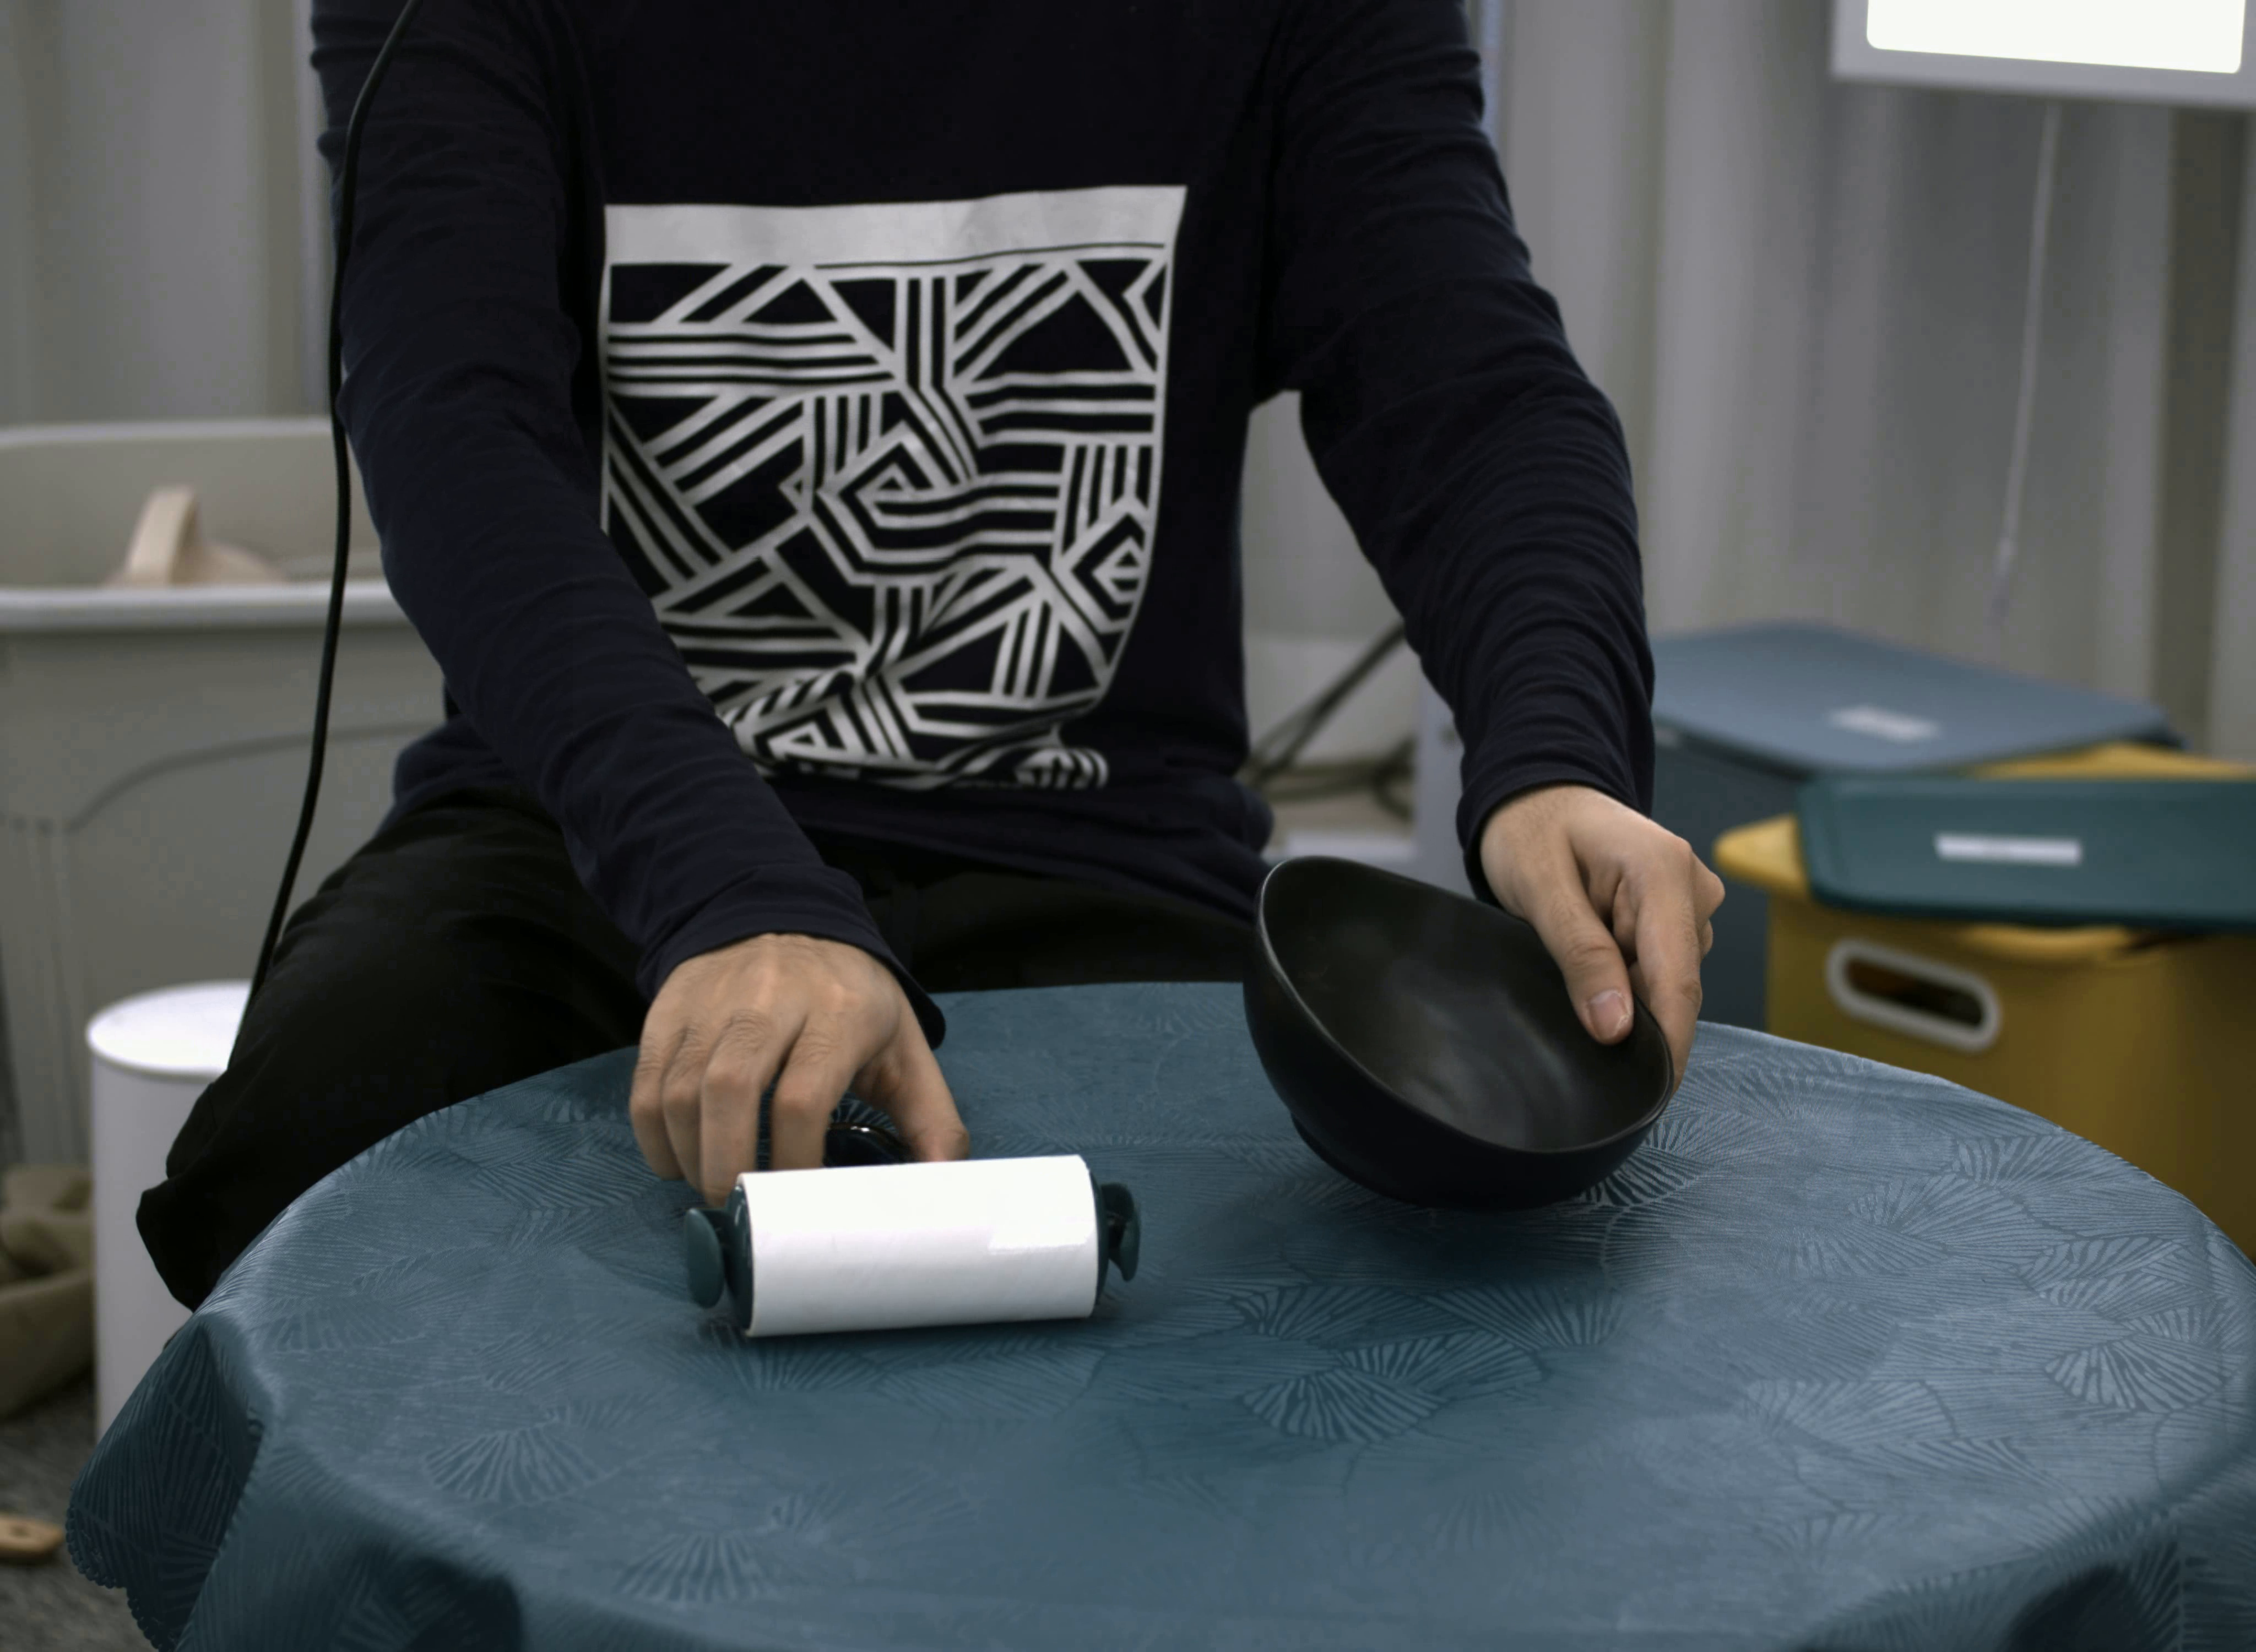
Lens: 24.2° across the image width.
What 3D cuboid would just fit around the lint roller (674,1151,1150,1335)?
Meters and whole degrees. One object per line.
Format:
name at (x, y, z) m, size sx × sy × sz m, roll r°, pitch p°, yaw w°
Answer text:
lint roller at (-0.075, 0.106, 1.570) m, size 0.134 × 0.048 × 0.178 m, roll -3°, pitch 12°, yaw -11°

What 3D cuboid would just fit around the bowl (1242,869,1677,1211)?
bowl at (0.091, 0.073, 1.606) m, size 0.137 × 0.067 × 0.169 m, roll 18°, pitch 24°, yaw -11°
